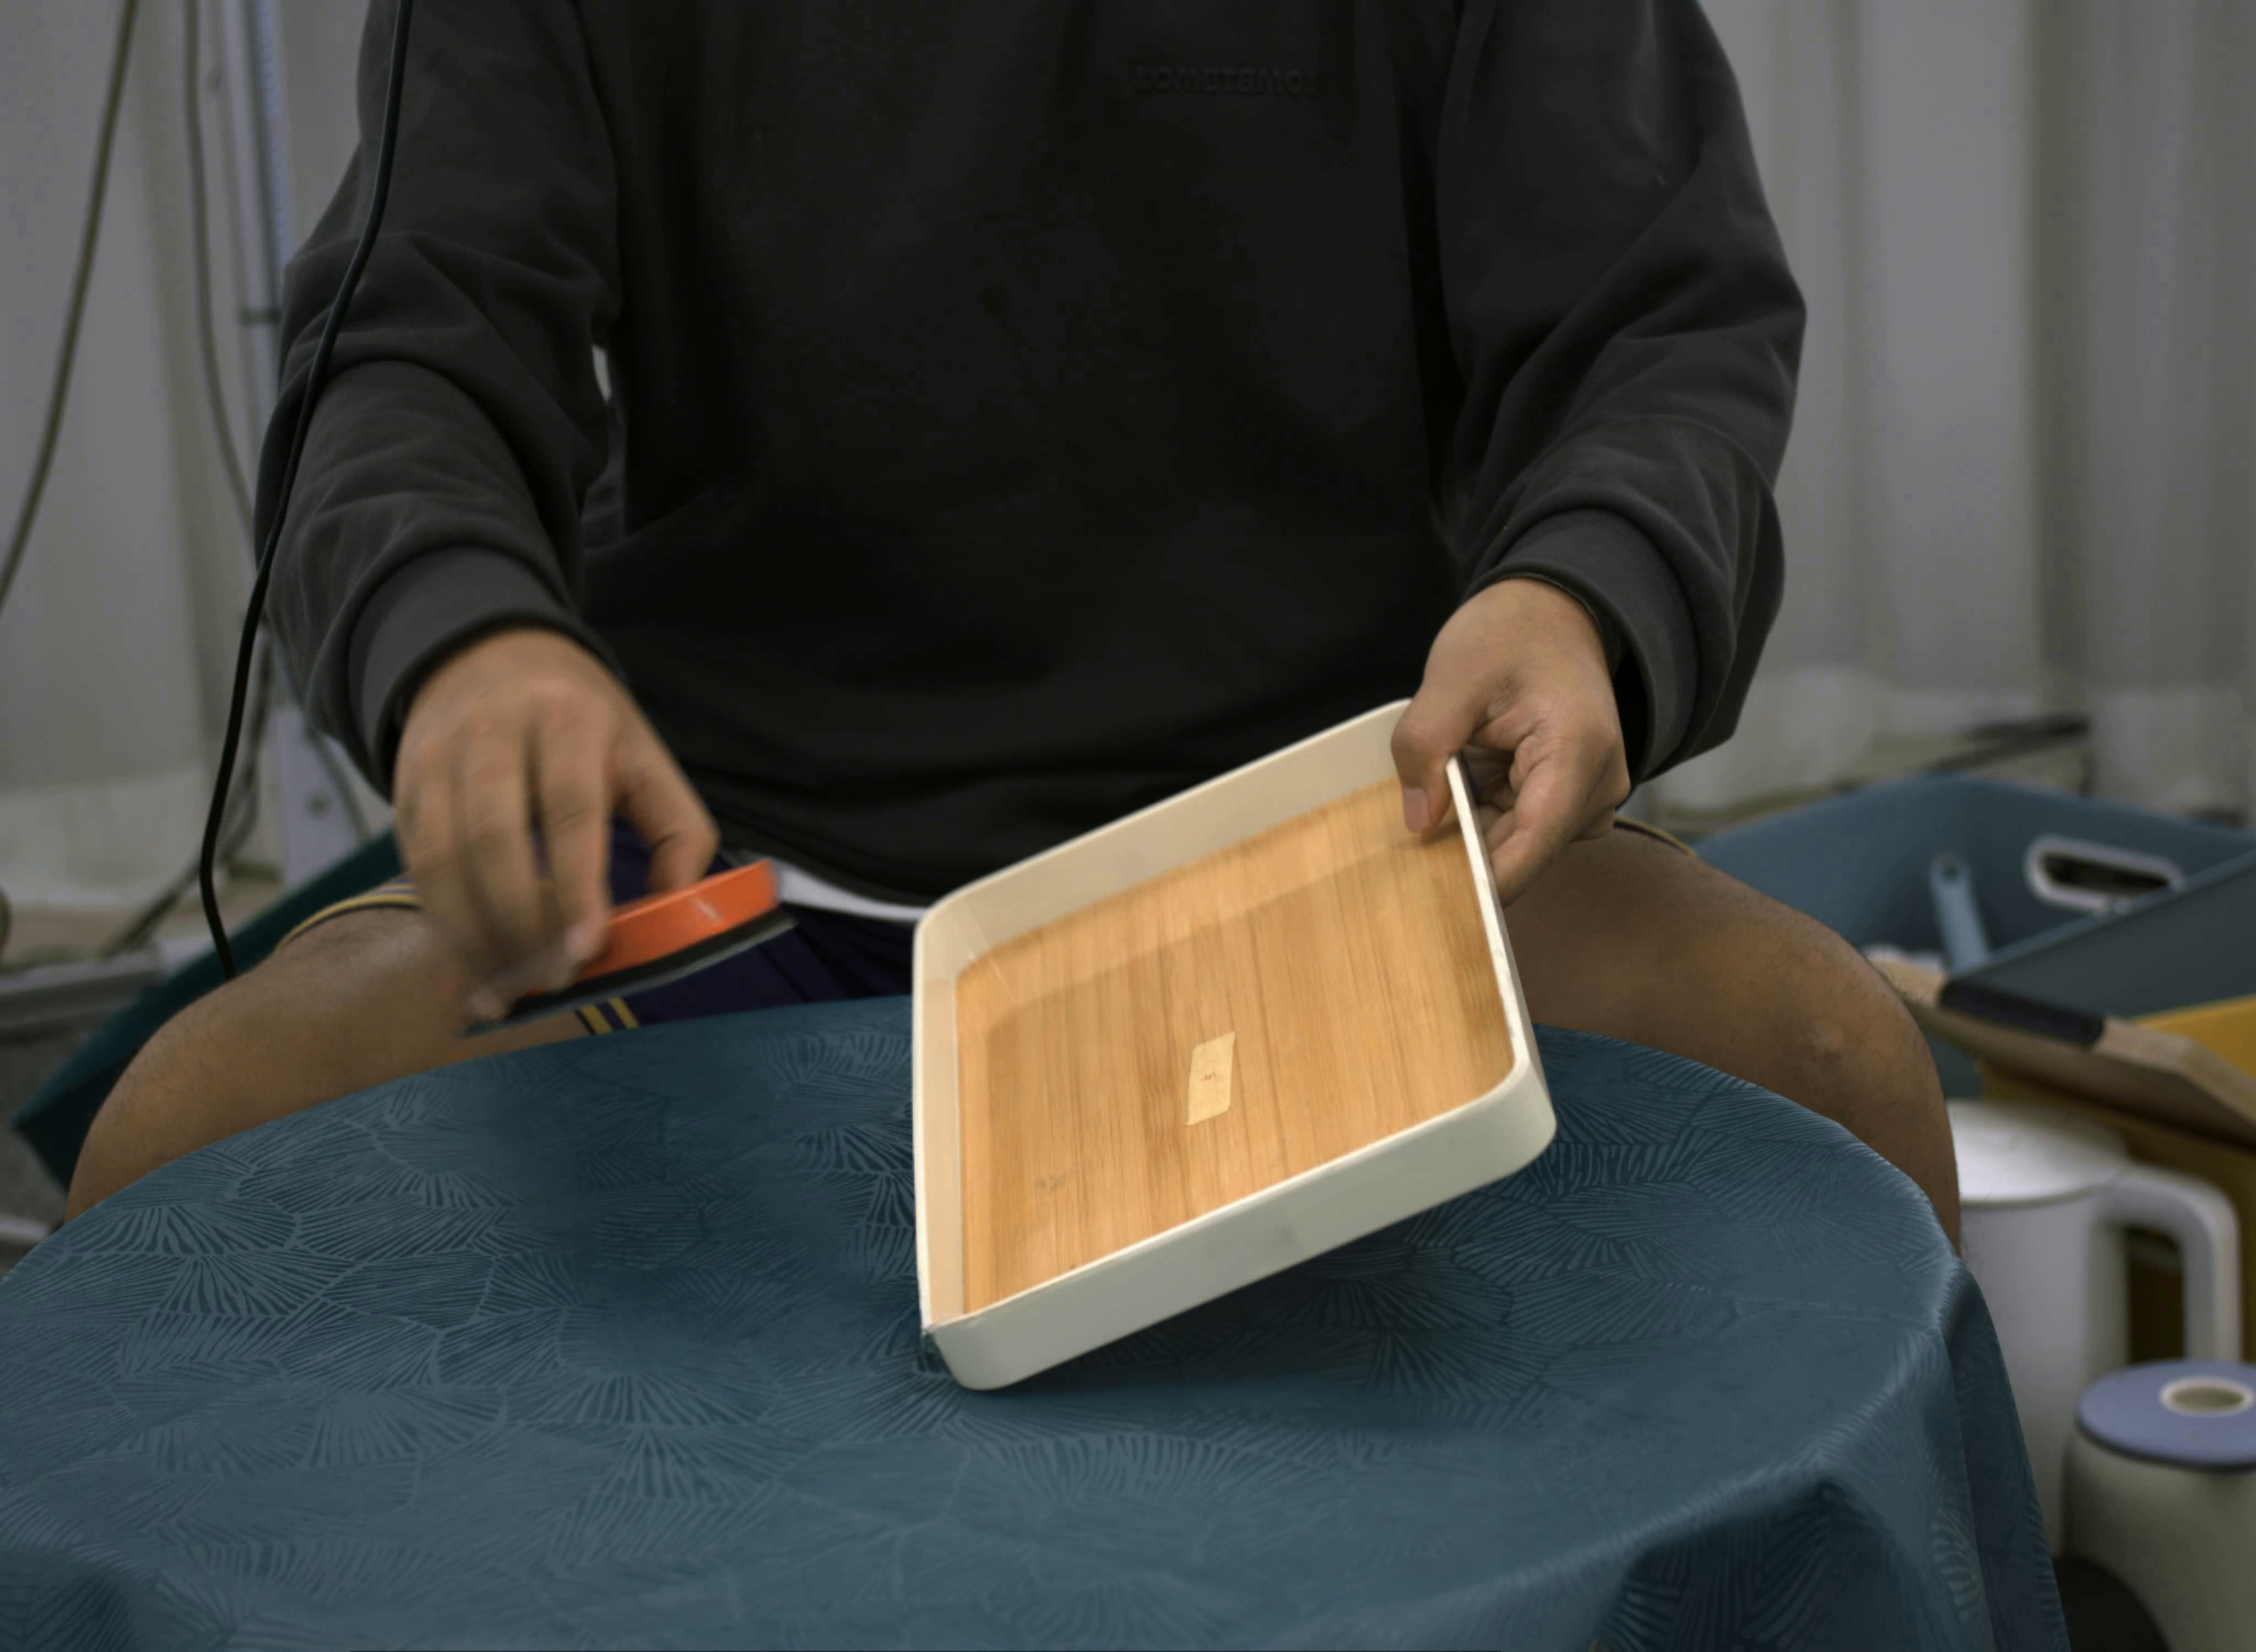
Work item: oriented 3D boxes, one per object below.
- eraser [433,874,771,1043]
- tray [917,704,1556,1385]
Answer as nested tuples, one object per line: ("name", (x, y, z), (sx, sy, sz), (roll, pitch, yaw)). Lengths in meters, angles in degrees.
("eraser", (-0.161, 0.041, 1.677), (0.059, 0.023, 0.108), (-22, 5, -43))
("tray", (0.027, 0.061, 1.668), (0.191, 0.027, 0.303), (-23, 21, 8))
